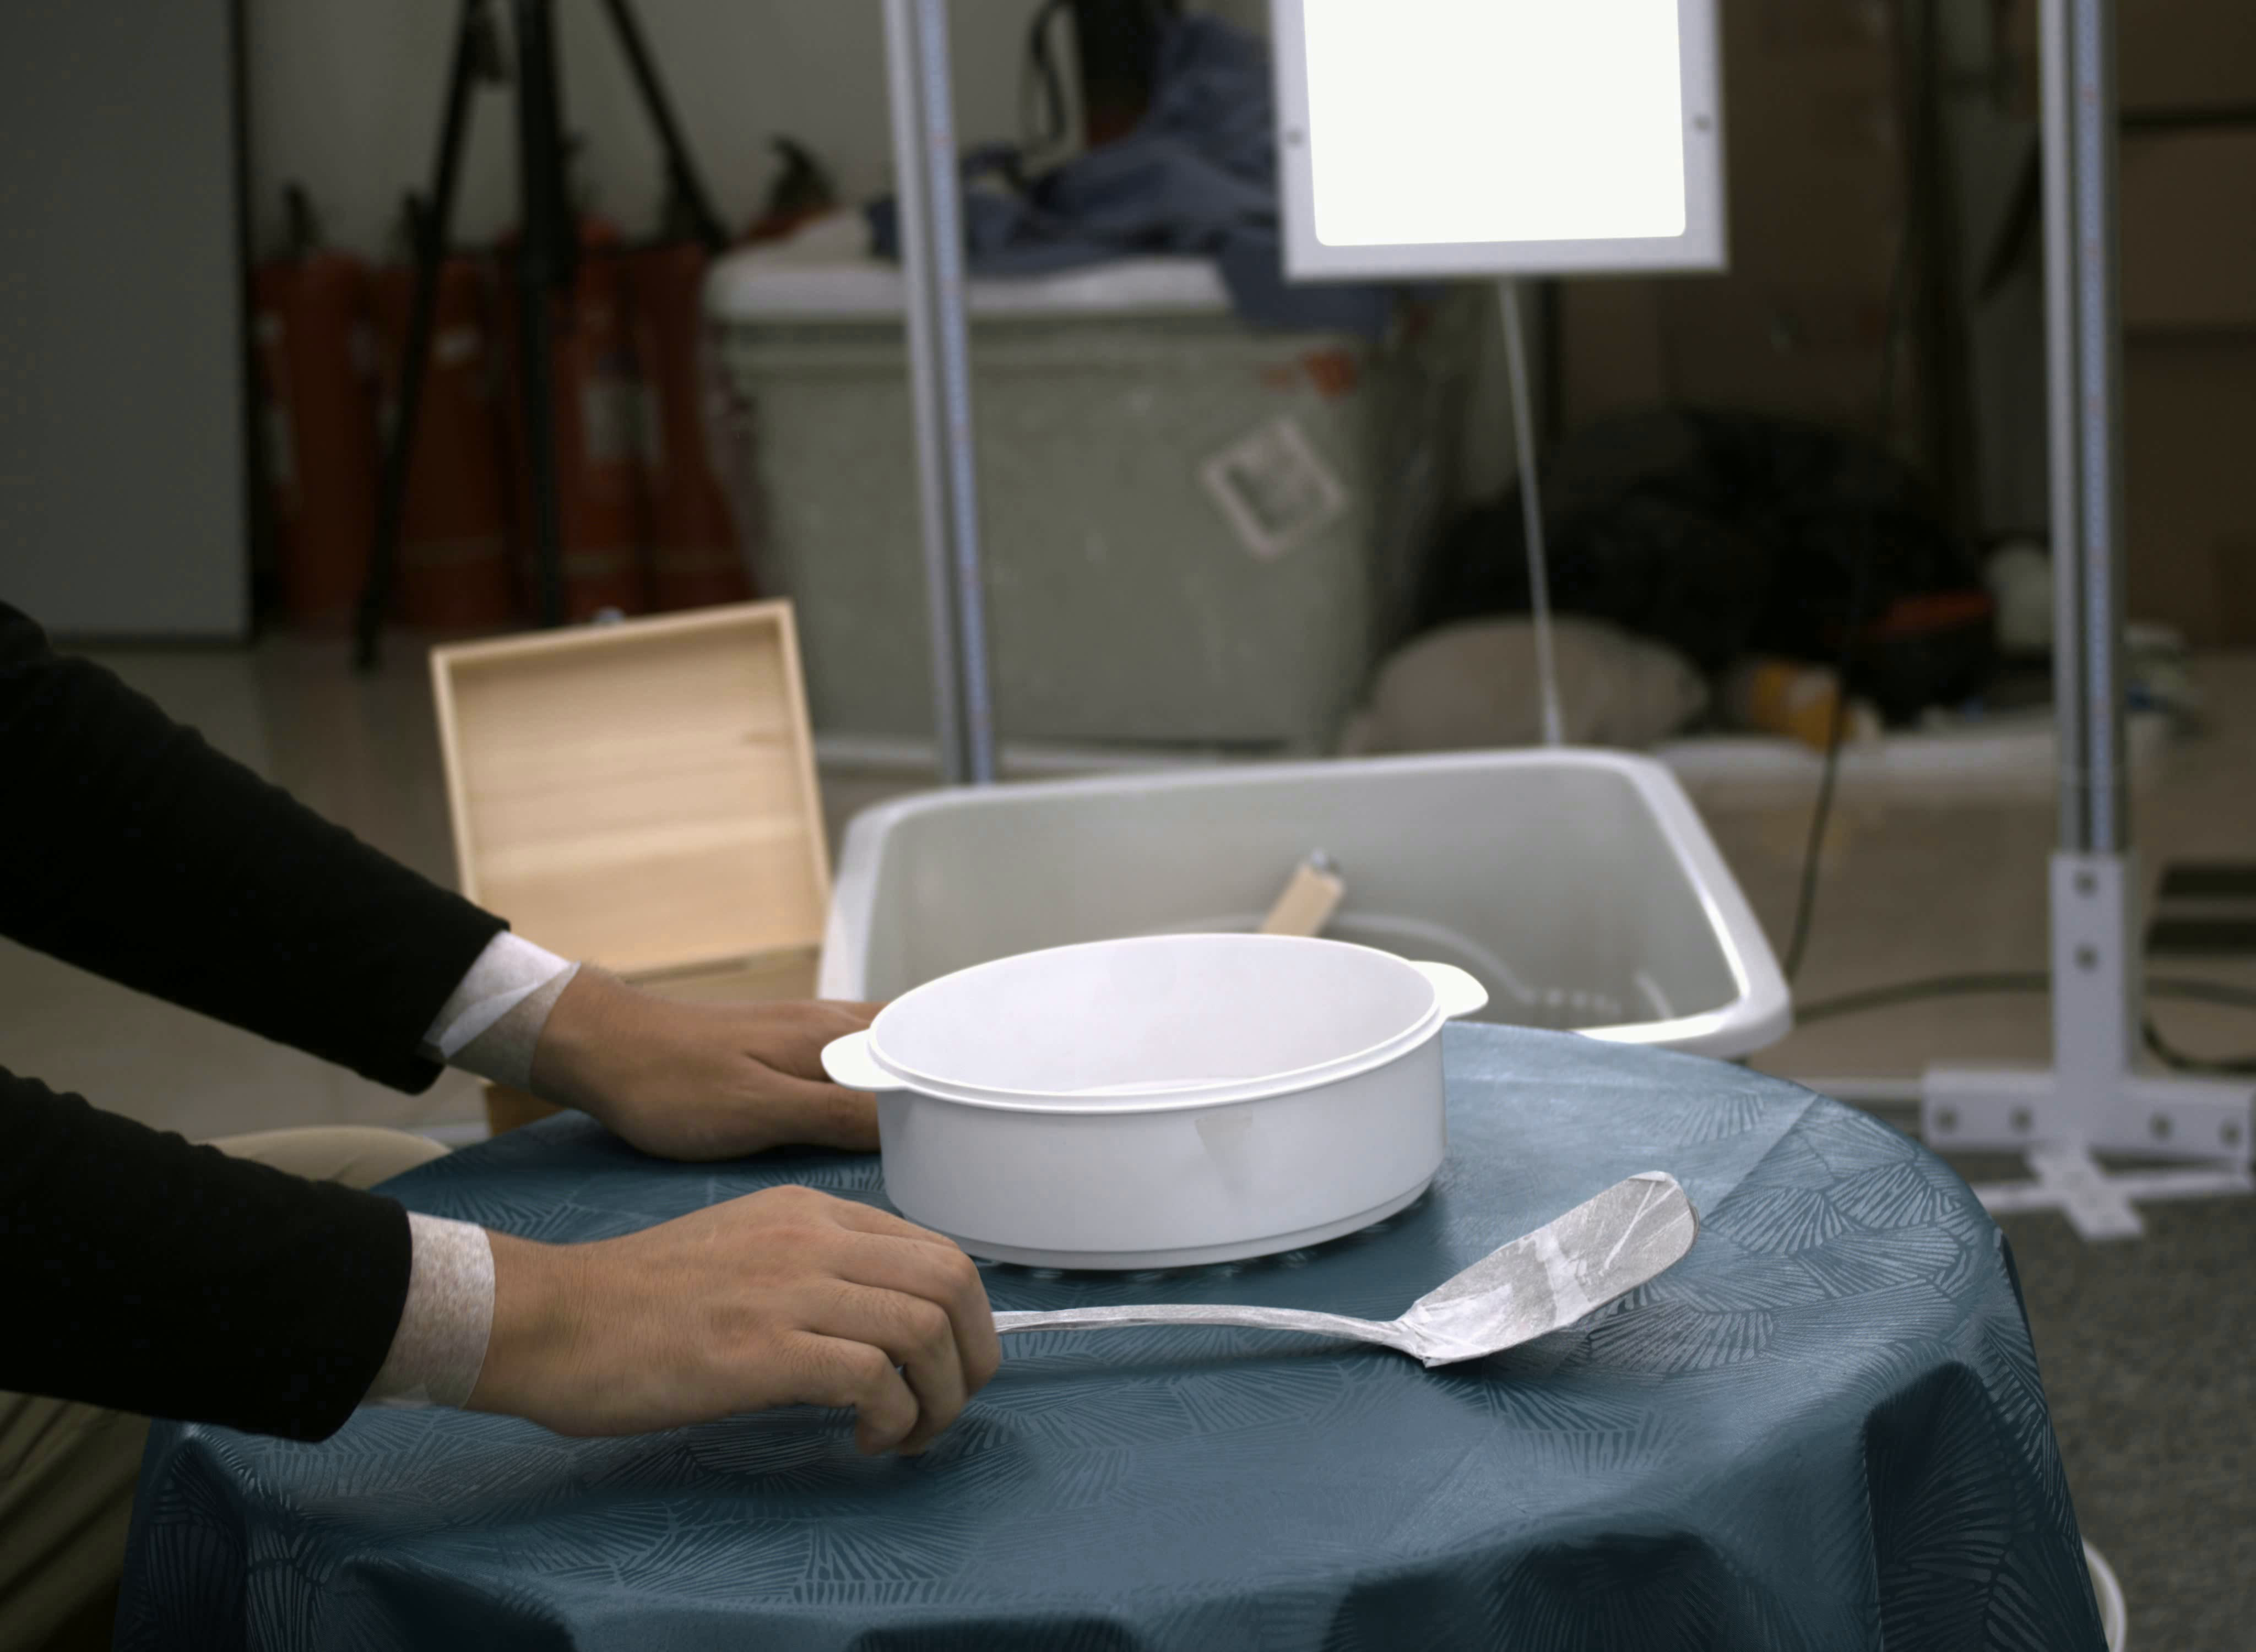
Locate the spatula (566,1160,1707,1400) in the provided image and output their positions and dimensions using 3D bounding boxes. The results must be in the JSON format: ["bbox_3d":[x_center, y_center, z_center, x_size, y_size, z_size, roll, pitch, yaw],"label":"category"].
[{"bbox_3d":[0.000,0.150,1.724,0.365,0.045,0.098,-4,17,5],"label":"spatula"}]

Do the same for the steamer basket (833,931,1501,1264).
[{"bbox_3d":[0.016,0.093,1.882,0.228,0.069,0.203,-8,13,-8],"label":"steamer basket"}]
